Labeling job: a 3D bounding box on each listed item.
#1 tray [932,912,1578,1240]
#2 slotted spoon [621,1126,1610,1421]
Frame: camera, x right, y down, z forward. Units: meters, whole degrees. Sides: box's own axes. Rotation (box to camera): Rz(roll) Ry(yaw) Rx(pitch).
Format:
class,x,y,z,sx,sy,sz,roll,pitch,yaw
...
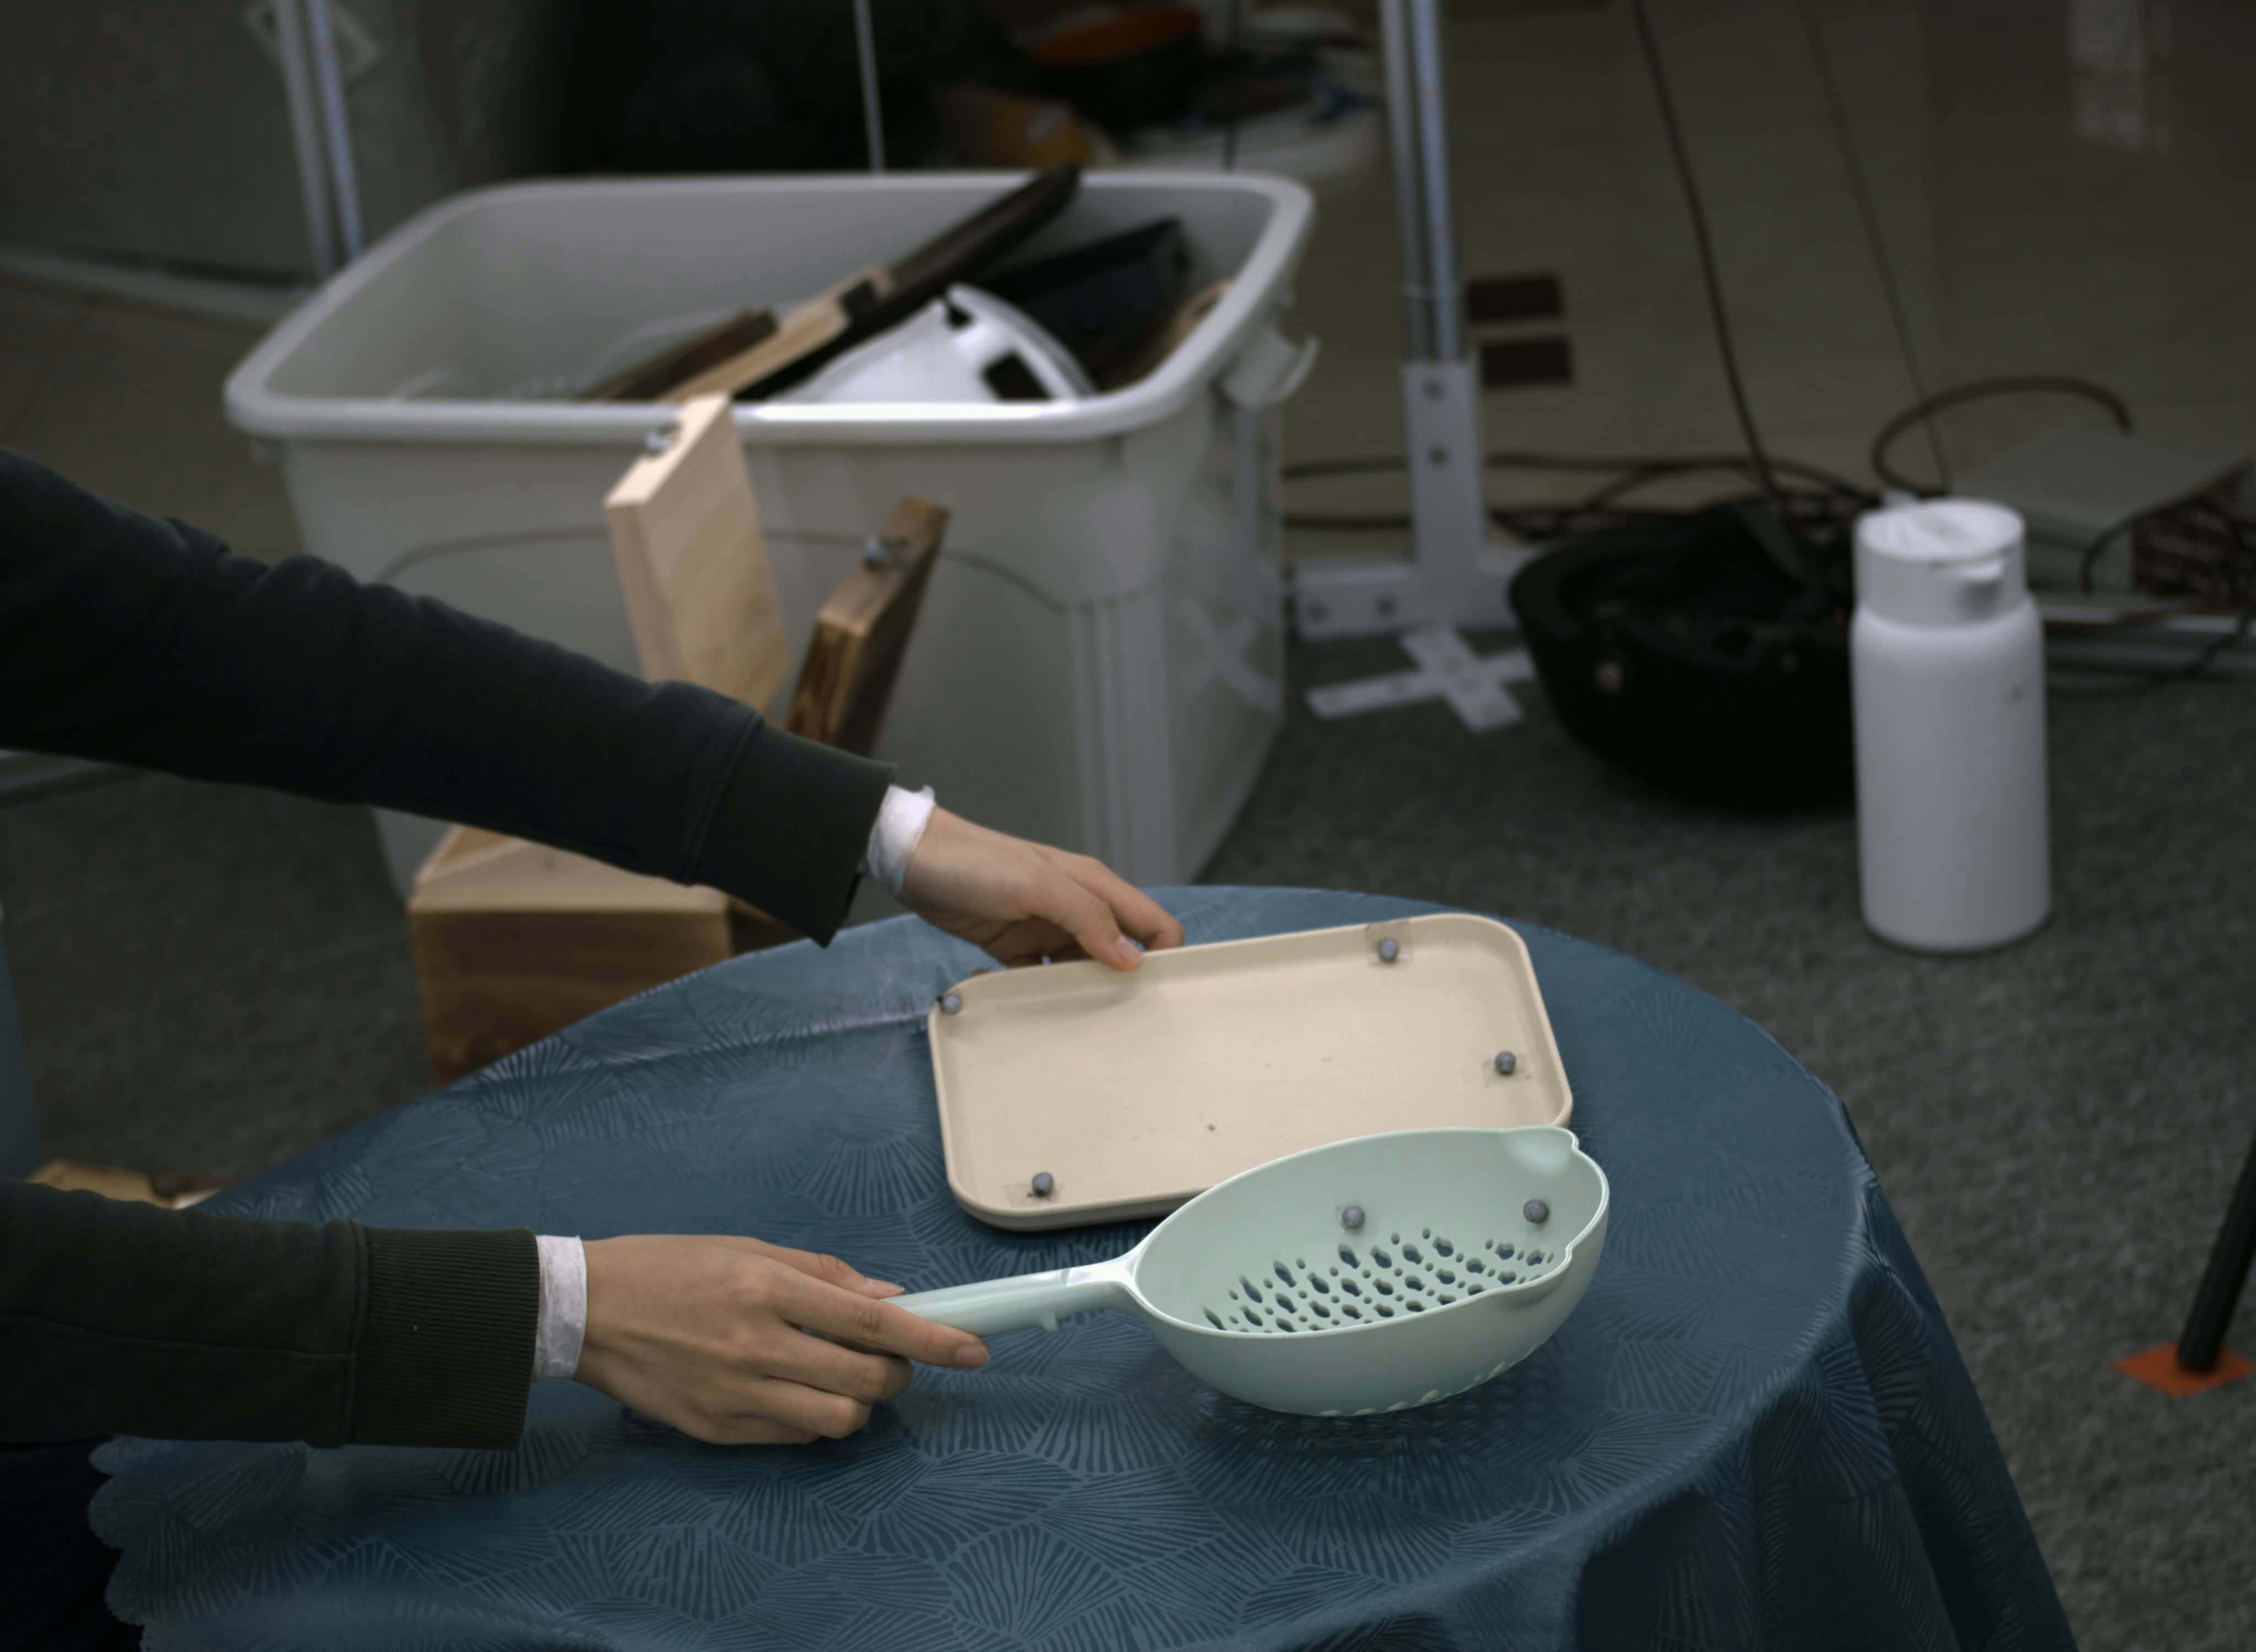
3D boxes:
class,x,y,z,sx,sy,sz,roll,pitch,yaw
tray,0.047,0.097,2.192,0.239,0.018,0.168,-8,32,-2
slotted spoon,-0.008,0.170,2.008,0.358,0.076,0.167,-2,19,7
